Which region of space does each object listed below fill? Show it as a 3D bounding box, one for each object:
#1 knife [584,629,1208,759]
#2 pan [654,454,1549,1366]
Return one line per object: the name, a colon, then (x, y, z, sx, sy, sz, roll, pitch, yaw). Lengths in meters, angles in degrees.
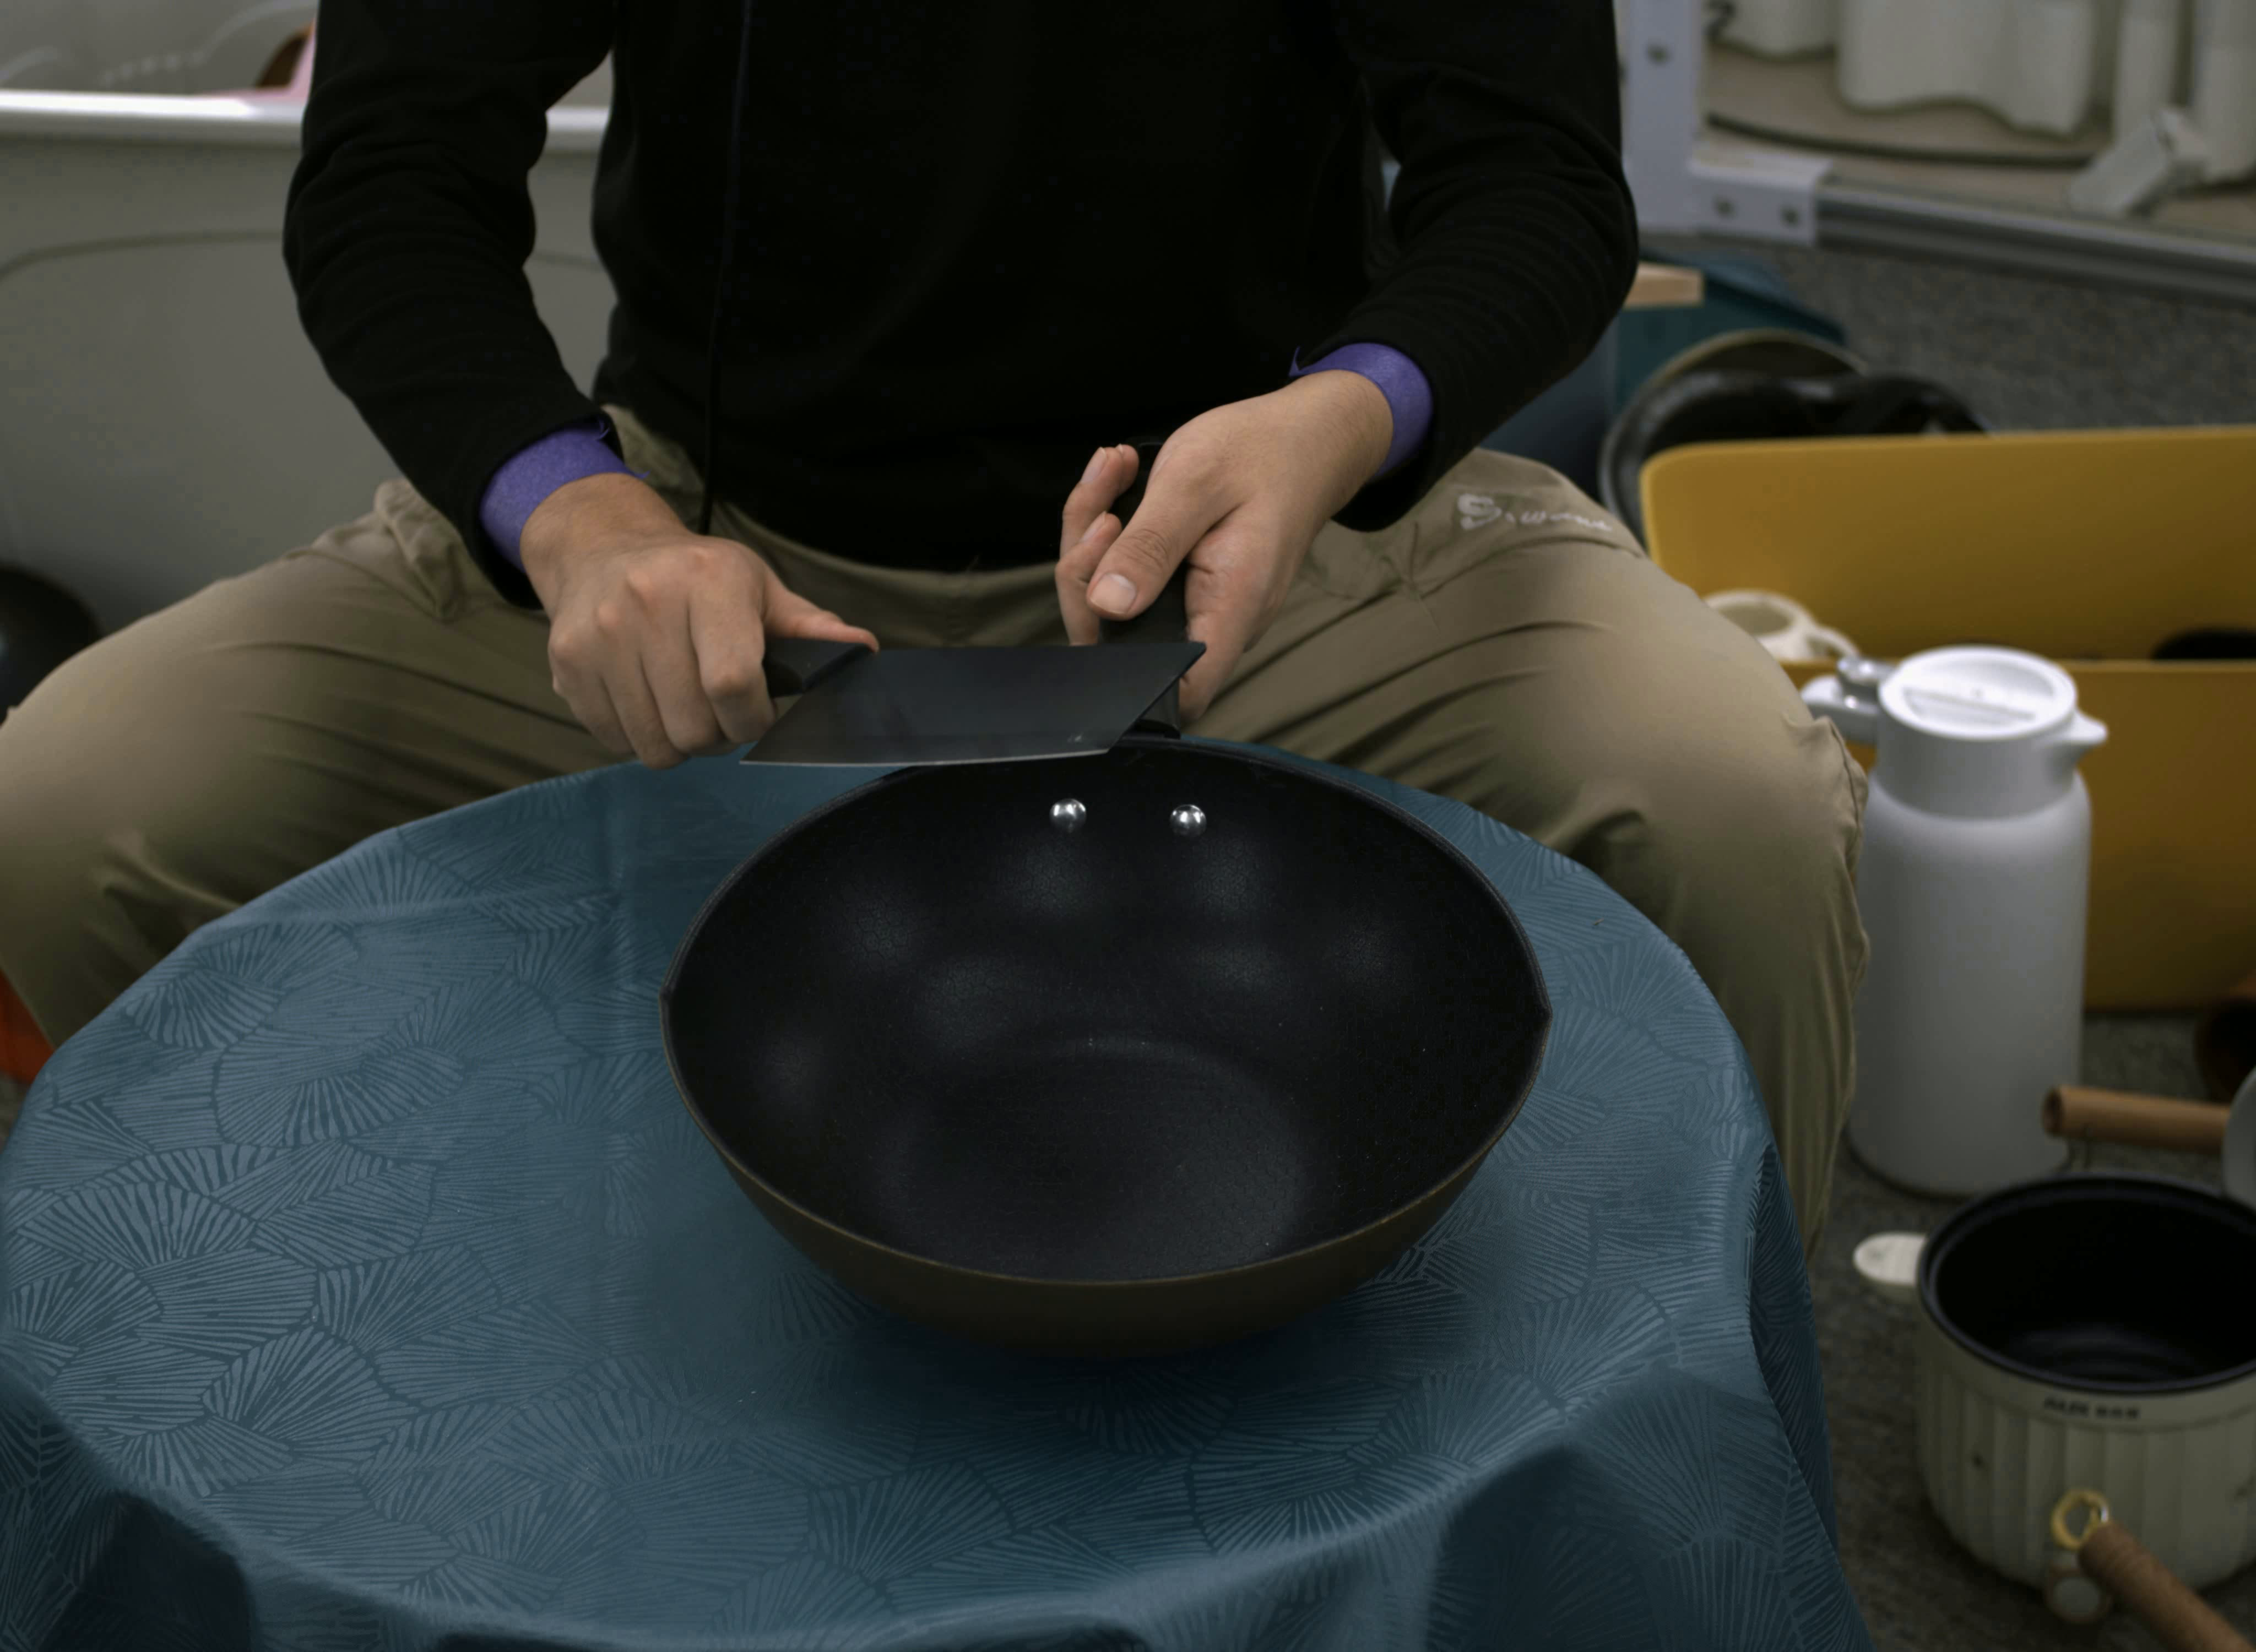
knife: (-0.091, -0.046, 1.944, 0.300, 0.020, 0.082, 4, 39, 49)
pan: (-0.003, 0.031, 1.892, 0.286, 0.085, 0.472, 2, 36, 3)
